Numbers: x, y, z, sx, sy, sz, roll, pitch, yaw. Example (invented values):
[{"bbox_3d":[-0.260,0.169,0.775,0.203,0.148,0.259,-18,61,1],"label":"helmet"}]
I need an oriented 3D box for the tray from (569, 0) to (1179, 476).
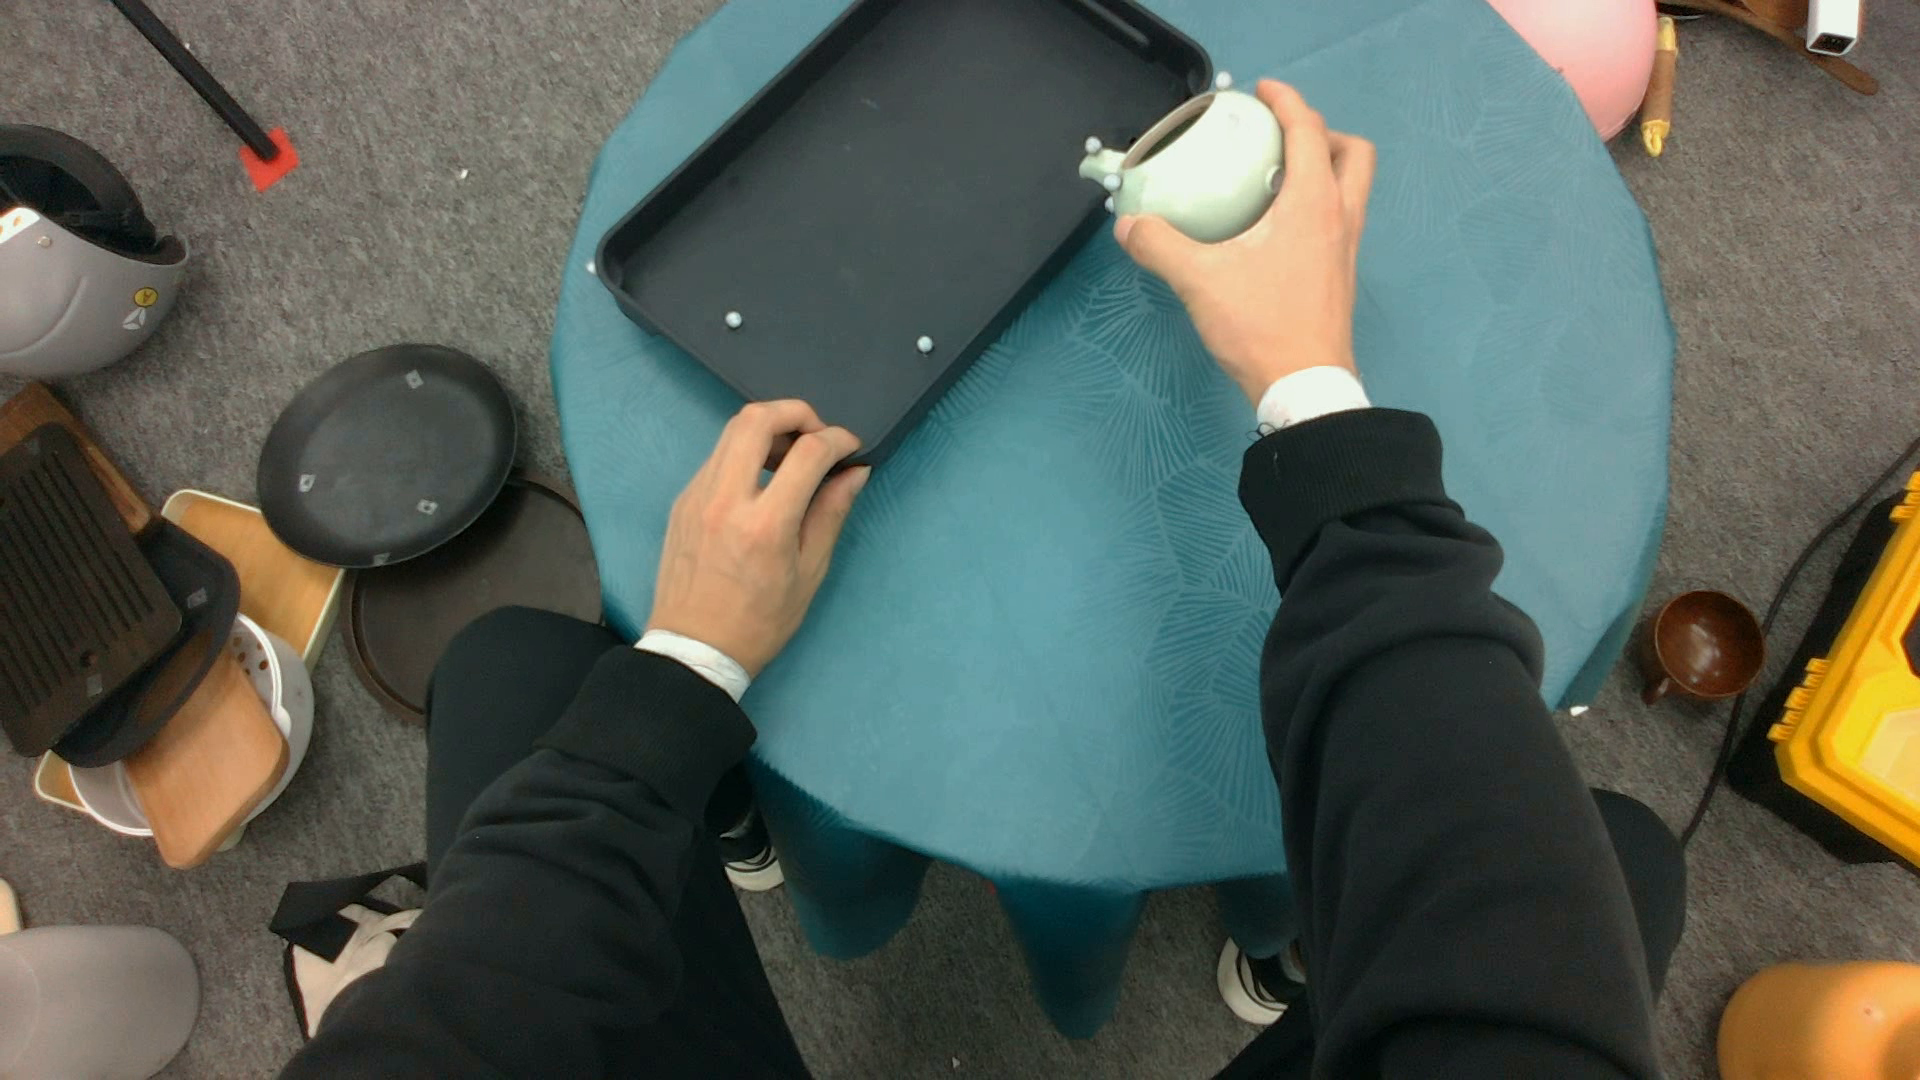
[{"bbox_3d":[-0.039,-0.197,0.739,0.184,0.037,0.319,36,73,9],"label":"tray"}]

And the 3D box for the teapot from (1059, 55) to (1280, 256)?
[{"bbox_3d":[0.106,-0.180,0.662,0.074,0.143,0.088,46,71,-18],"label":"teapot"}]
